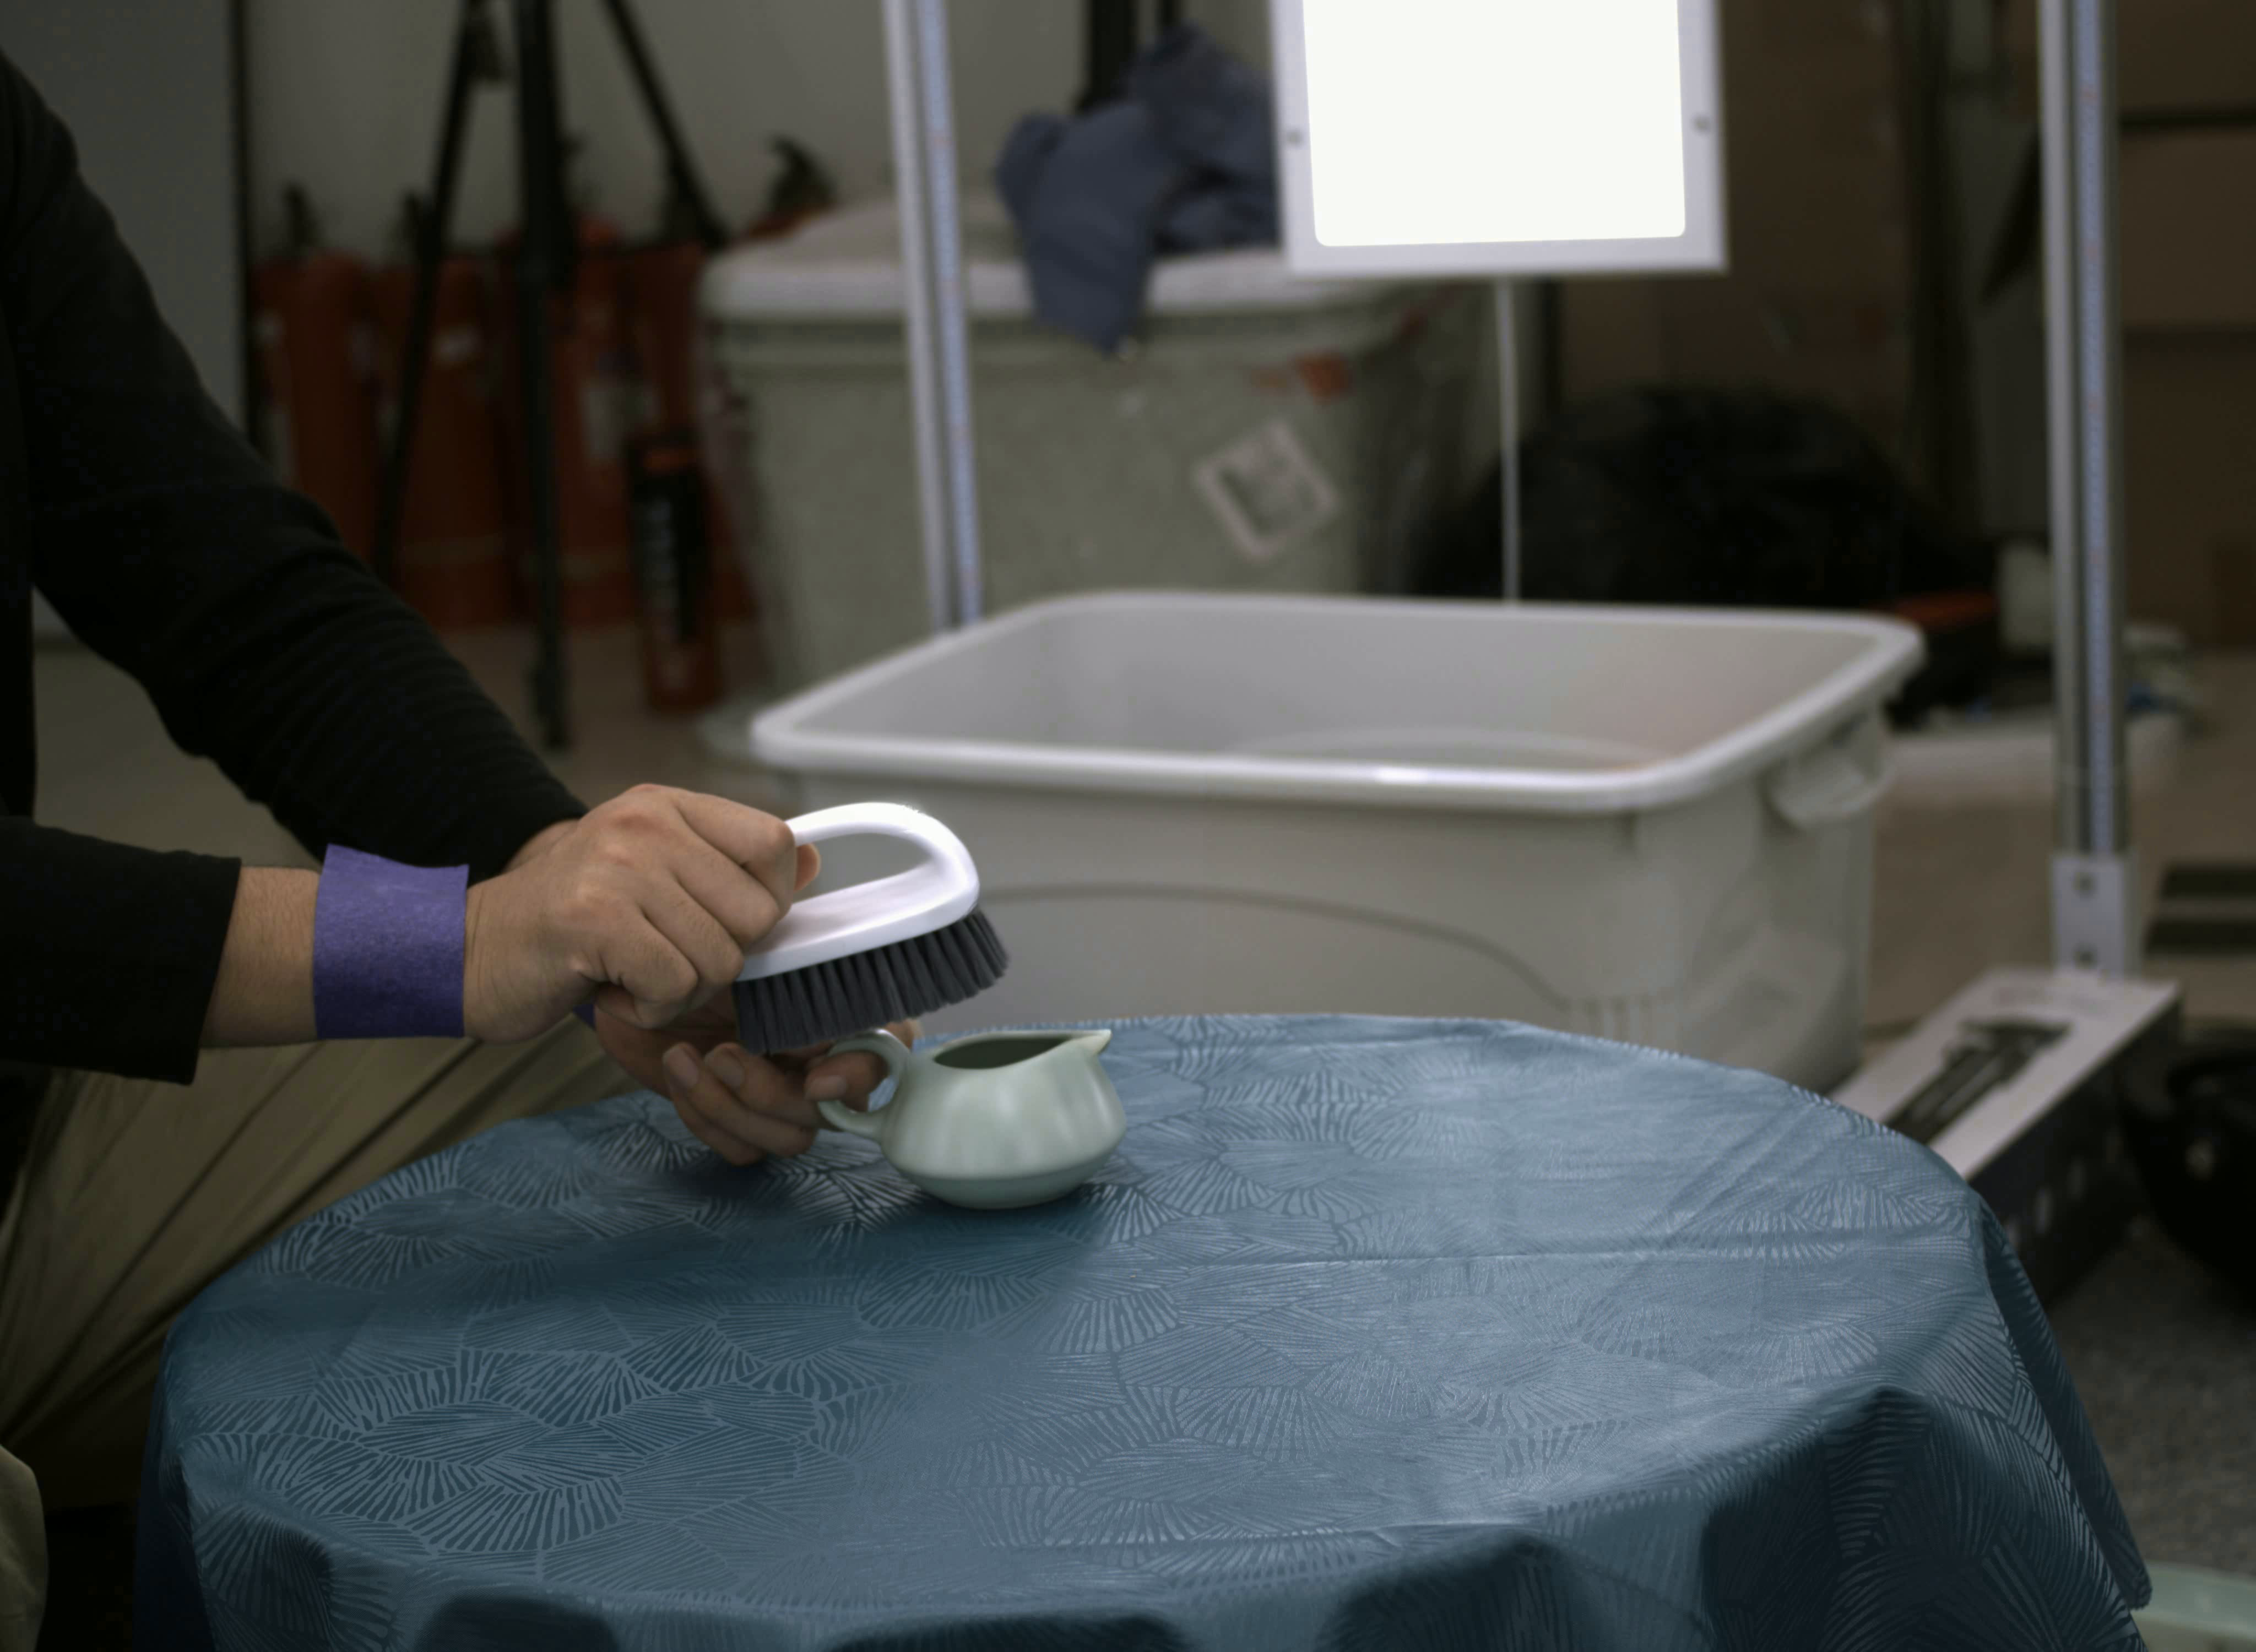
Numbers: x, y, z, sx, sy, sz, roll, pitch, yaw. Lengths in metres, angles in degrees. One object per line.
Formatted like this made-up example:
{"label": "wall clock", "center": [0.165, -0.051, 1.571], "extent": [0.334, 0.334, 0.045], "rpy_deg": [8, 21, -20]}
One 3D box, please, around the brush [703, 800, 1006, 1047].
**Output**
{"label": "brush", "center": [-0.098, 0.029, 1.887], "extent": [0.100, 0.072, 0.050], "rpy_deg": [-14, 17, 14]}

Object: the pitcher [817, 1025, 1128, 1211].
{"label": "pitcher", "center": [-0.054, 0.100, 1.908], "extent": [0.108, 0.060, 0.085], "rpy_deg": [-5, 13, 11]}
